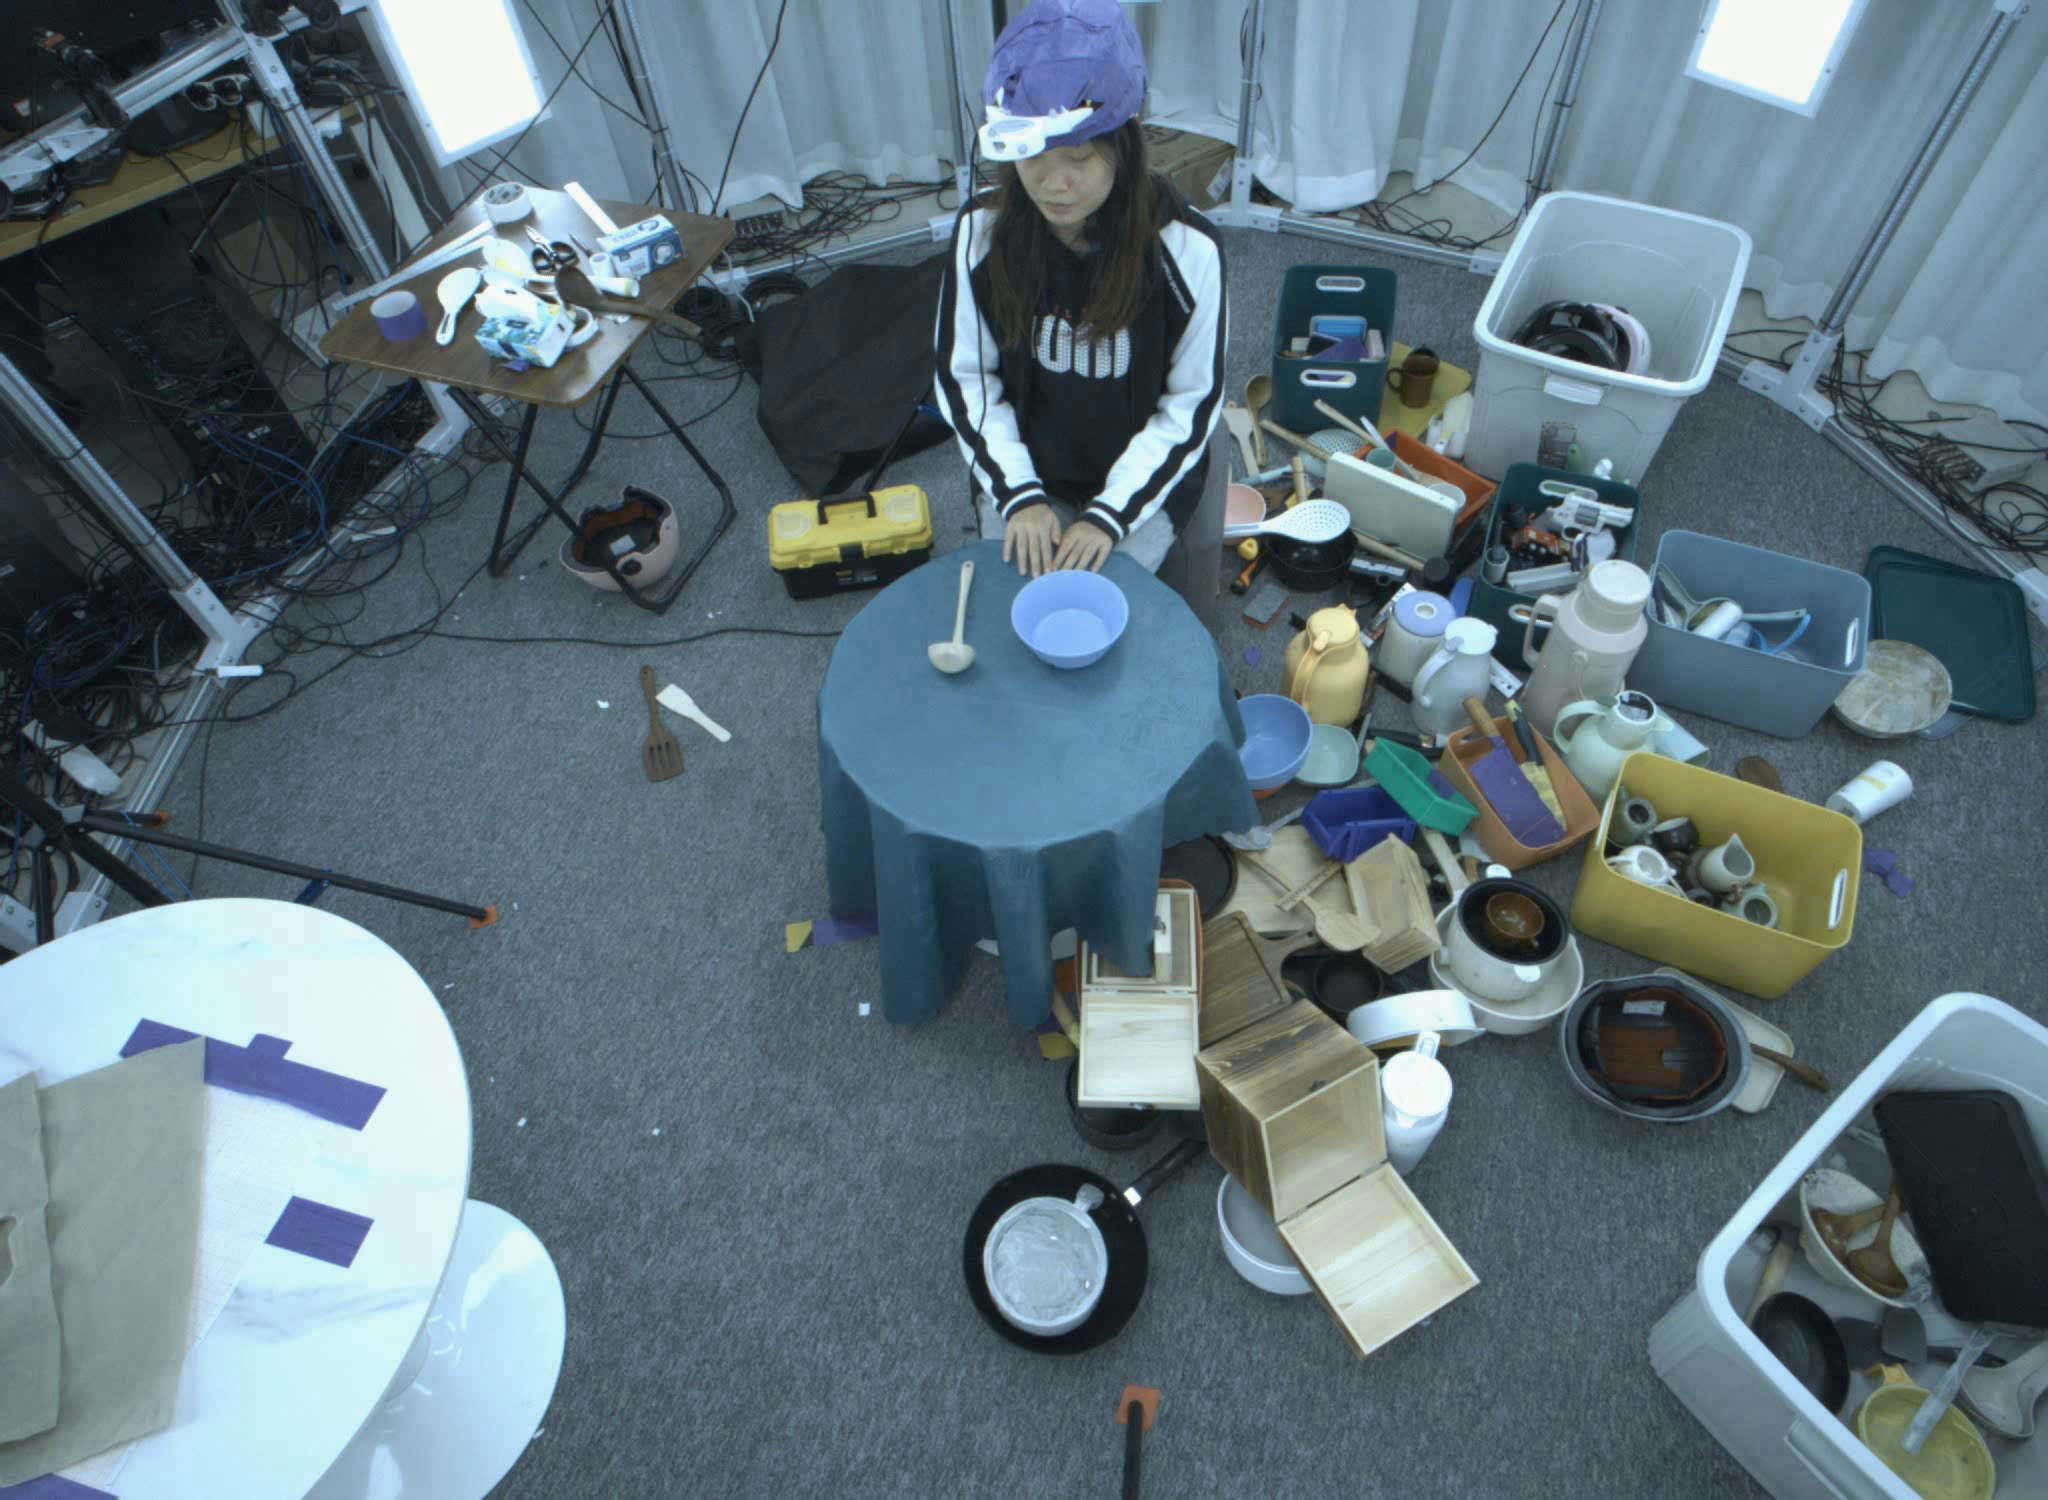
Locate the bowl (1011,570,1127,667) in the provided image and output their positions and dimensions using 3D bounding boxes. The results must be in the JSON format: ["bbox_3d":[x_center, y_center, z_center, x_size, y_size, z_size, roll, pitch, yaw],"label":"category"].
[{"bbox_3d":[0.068,-0.191,1.877,0.176,0.071,0.174,0,55,1],"label":"bowl"}]

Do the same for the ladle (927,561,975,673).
[{"bbox_3d":[-0.106,-0.229,1.908,0.072,0.074,0.252,-2,55,6],"label":"ladle"}]
